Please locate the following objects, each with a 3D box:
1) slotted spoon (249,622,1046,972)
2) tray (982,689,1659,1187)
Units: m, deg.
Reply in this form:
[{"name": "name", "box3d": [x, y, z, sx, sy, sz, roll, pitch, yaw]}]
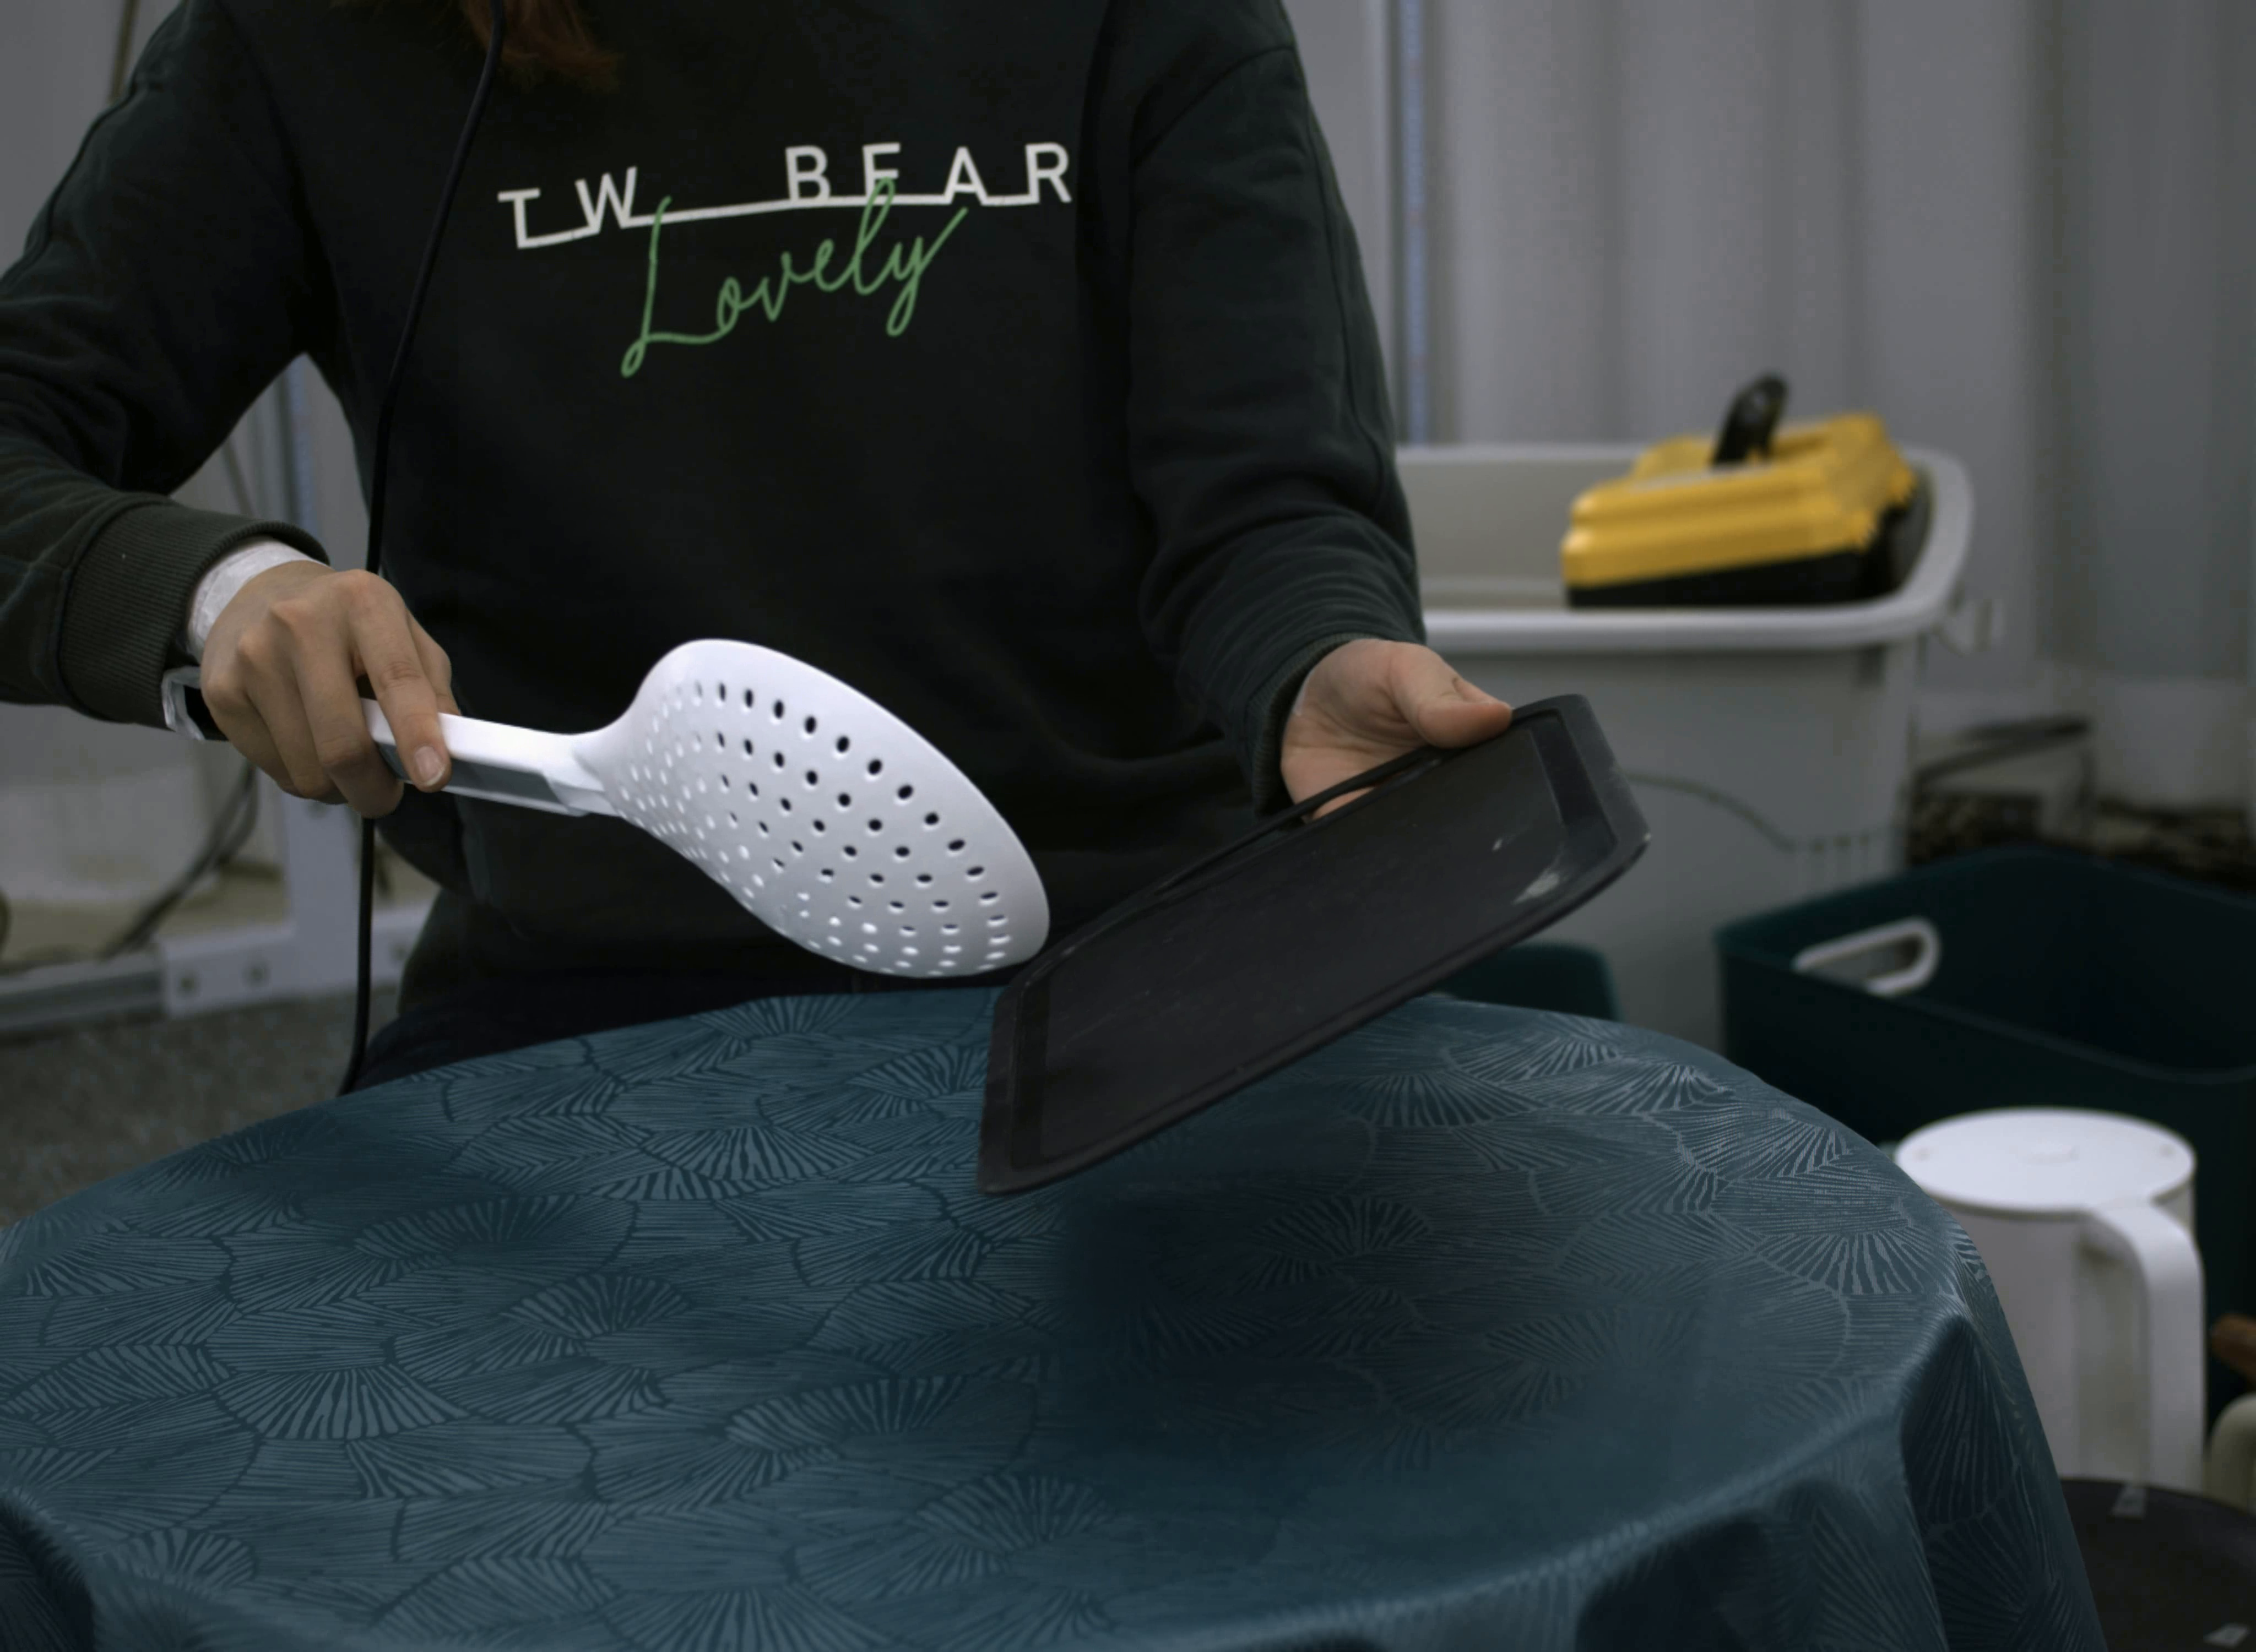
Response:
[{"name": "slotted spoon", "box3d": [-0.158, -0.016, 1.650, 0.352, 0.134, 0.046, 15, 55, 49]}, {"name": "tray", "box3d": [0.051, 0.026, 1.608, 0.210, 0.010, 0.327, -28, 10, 5]}]
